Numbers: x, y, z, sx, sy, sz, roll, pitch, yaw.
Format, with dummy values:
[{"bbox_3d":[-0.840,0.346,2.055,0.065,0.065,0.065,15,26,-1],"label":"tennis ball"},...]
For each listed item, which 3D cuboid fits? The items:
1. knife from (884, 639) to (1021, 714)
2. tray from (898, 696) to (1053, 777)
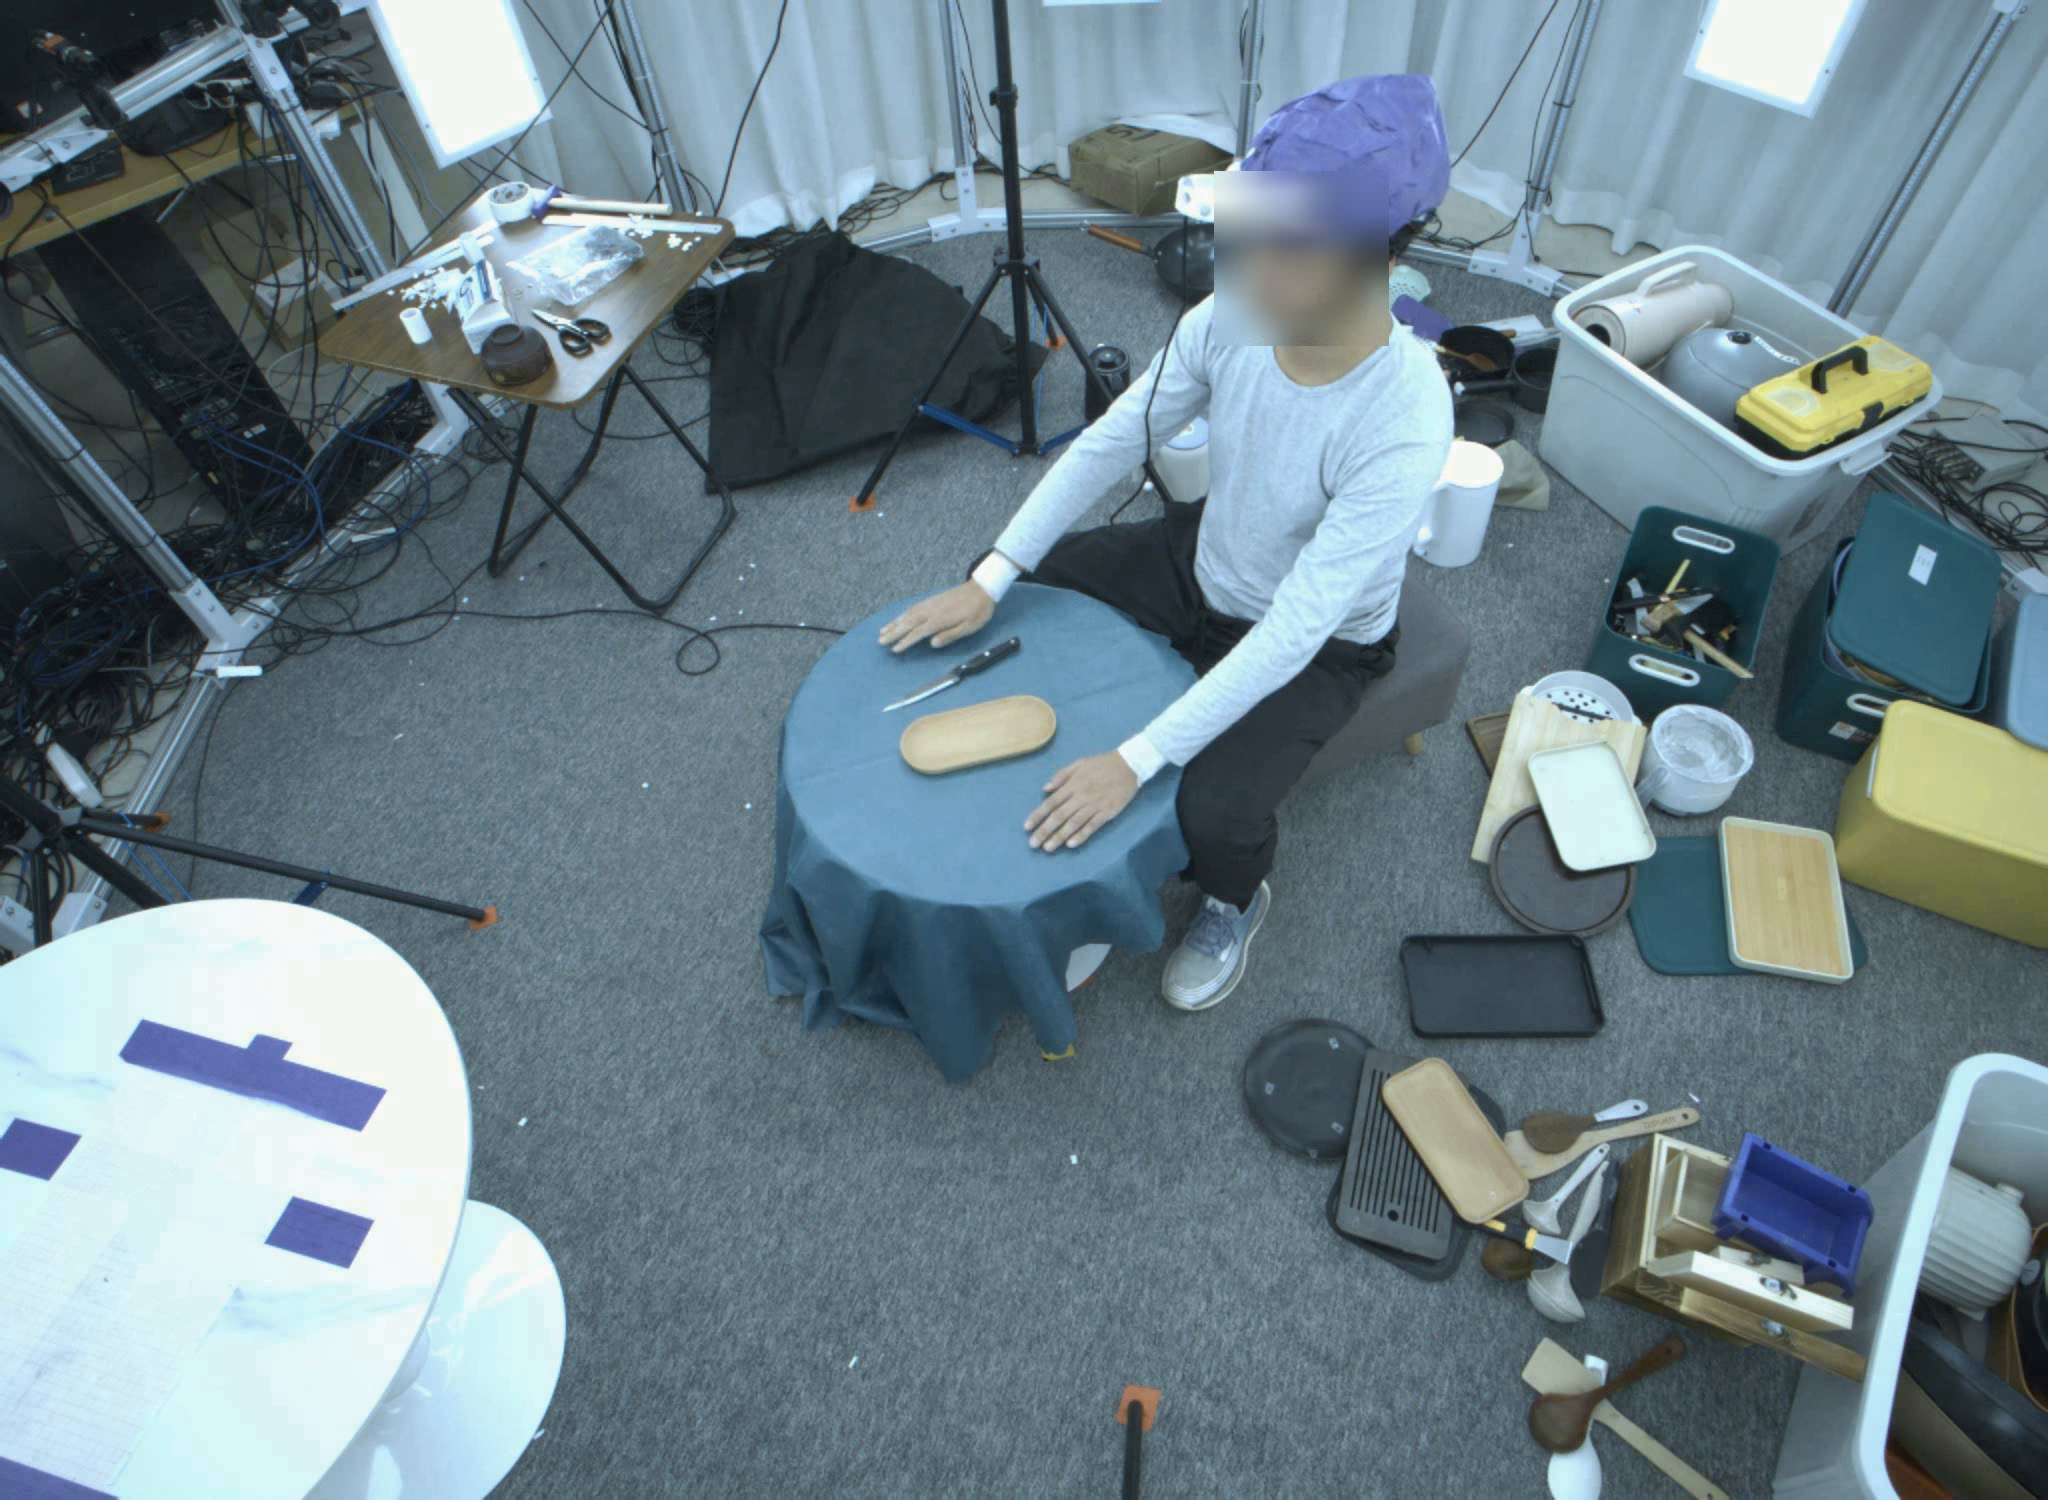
[{"bbox_3d":[-0.111,-0.112,1.871,0.240,0.016,0.024,-29,60,-15],"label":"knife"},{"bbox_3d":[-0.070,-0.020,1.802,0.232,0.020,0.100,-15,54,-8],"label":"tray"}]
